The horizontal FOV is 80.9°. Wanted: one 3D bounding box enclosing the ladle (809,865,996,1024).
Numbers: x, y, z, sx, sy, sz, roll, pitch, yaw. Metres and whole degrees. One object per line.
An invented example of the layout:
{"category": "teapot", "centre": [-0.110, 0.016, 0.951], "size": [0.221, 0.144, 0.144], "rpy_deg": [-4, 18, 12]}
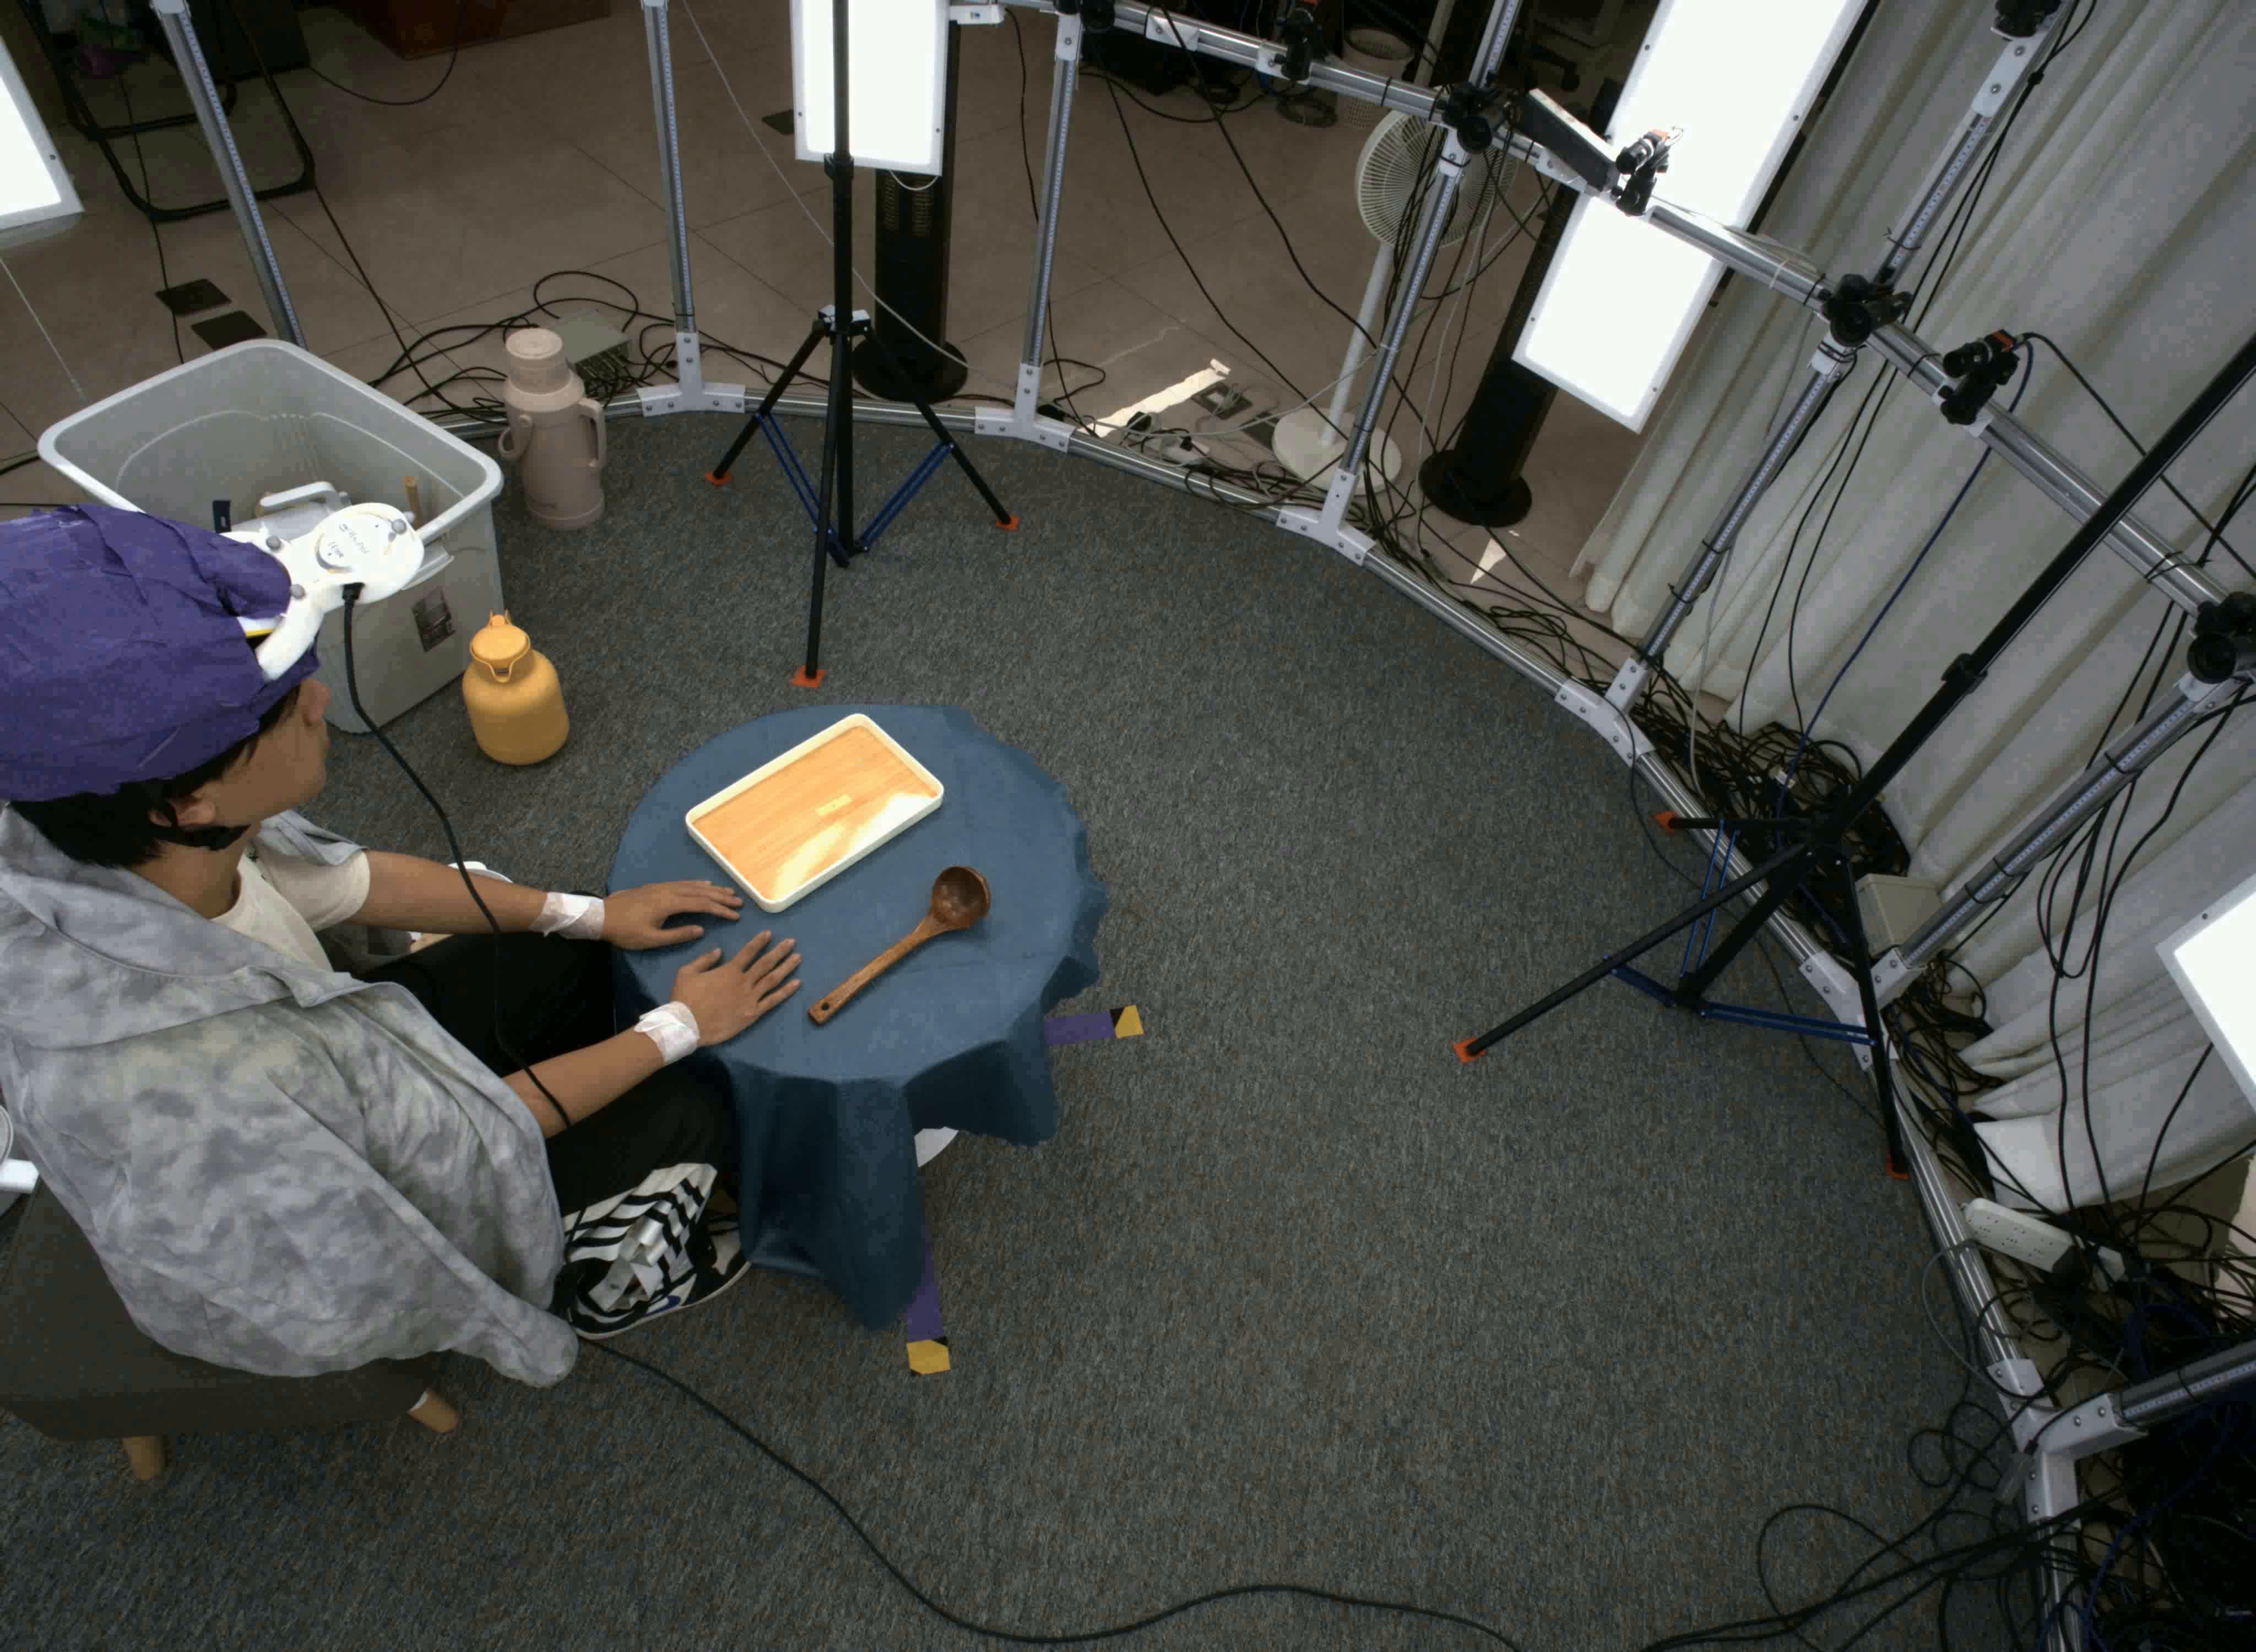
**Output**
{"category": "ladle", "centre": [-0.276, 0.144, 1.606], "size": [0.080, 0.078, 0.274], "rpy_deg": [43, 56, 16]}

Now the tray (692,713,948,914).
{"category": "tray", "centre": [-0.407, -0.024, 1.731], "size": [0.187, 0.028, 0.301], "rpy_deg": [42, 56, 17]}
